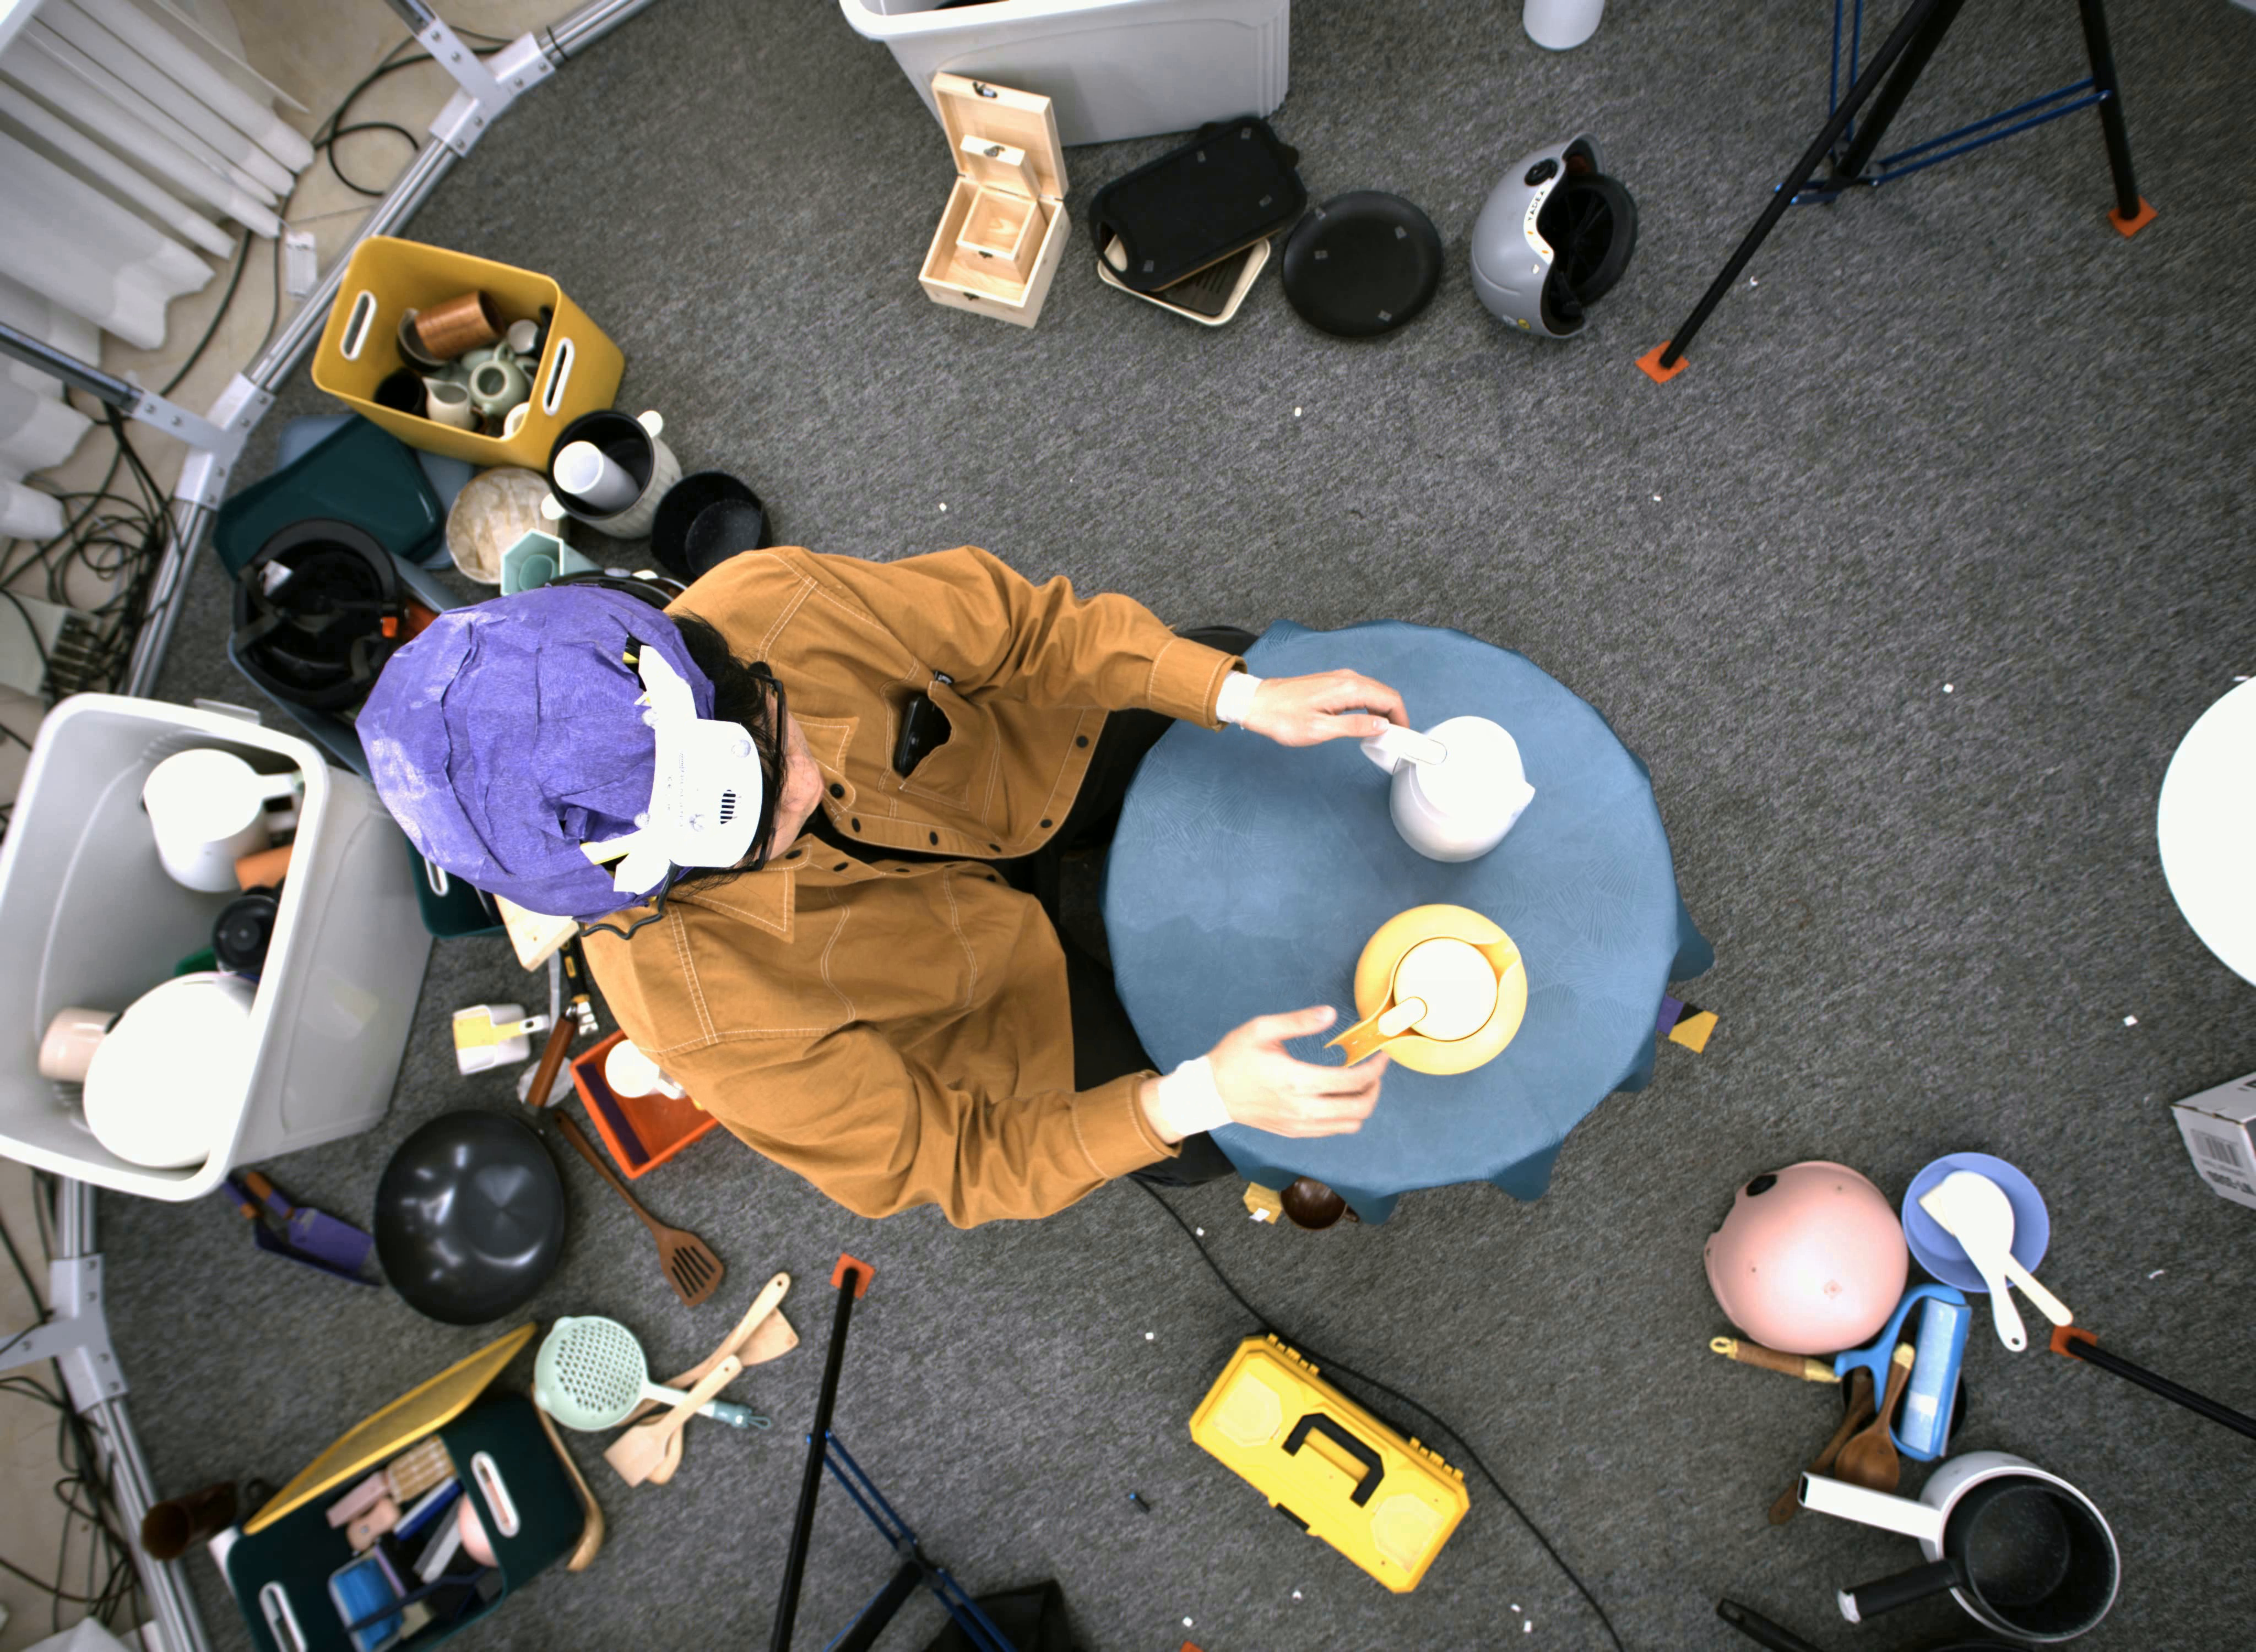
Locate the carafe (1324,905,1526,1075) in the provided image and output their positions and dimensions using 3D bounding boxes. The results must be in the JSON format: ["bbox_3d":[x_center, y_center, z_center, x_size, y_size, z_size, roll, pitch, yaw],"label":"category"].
[{"bbox_3d":[0.280,0.164,1.323,0.203,0.261,0.162,-31,78,5],"label":"carafe"}]

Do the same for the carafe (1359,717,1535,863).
[{"bbox_3d":[0.304,-0.048,1.334,0.167,0.249,0.132,26,90,12],"label":"carafe"}]
